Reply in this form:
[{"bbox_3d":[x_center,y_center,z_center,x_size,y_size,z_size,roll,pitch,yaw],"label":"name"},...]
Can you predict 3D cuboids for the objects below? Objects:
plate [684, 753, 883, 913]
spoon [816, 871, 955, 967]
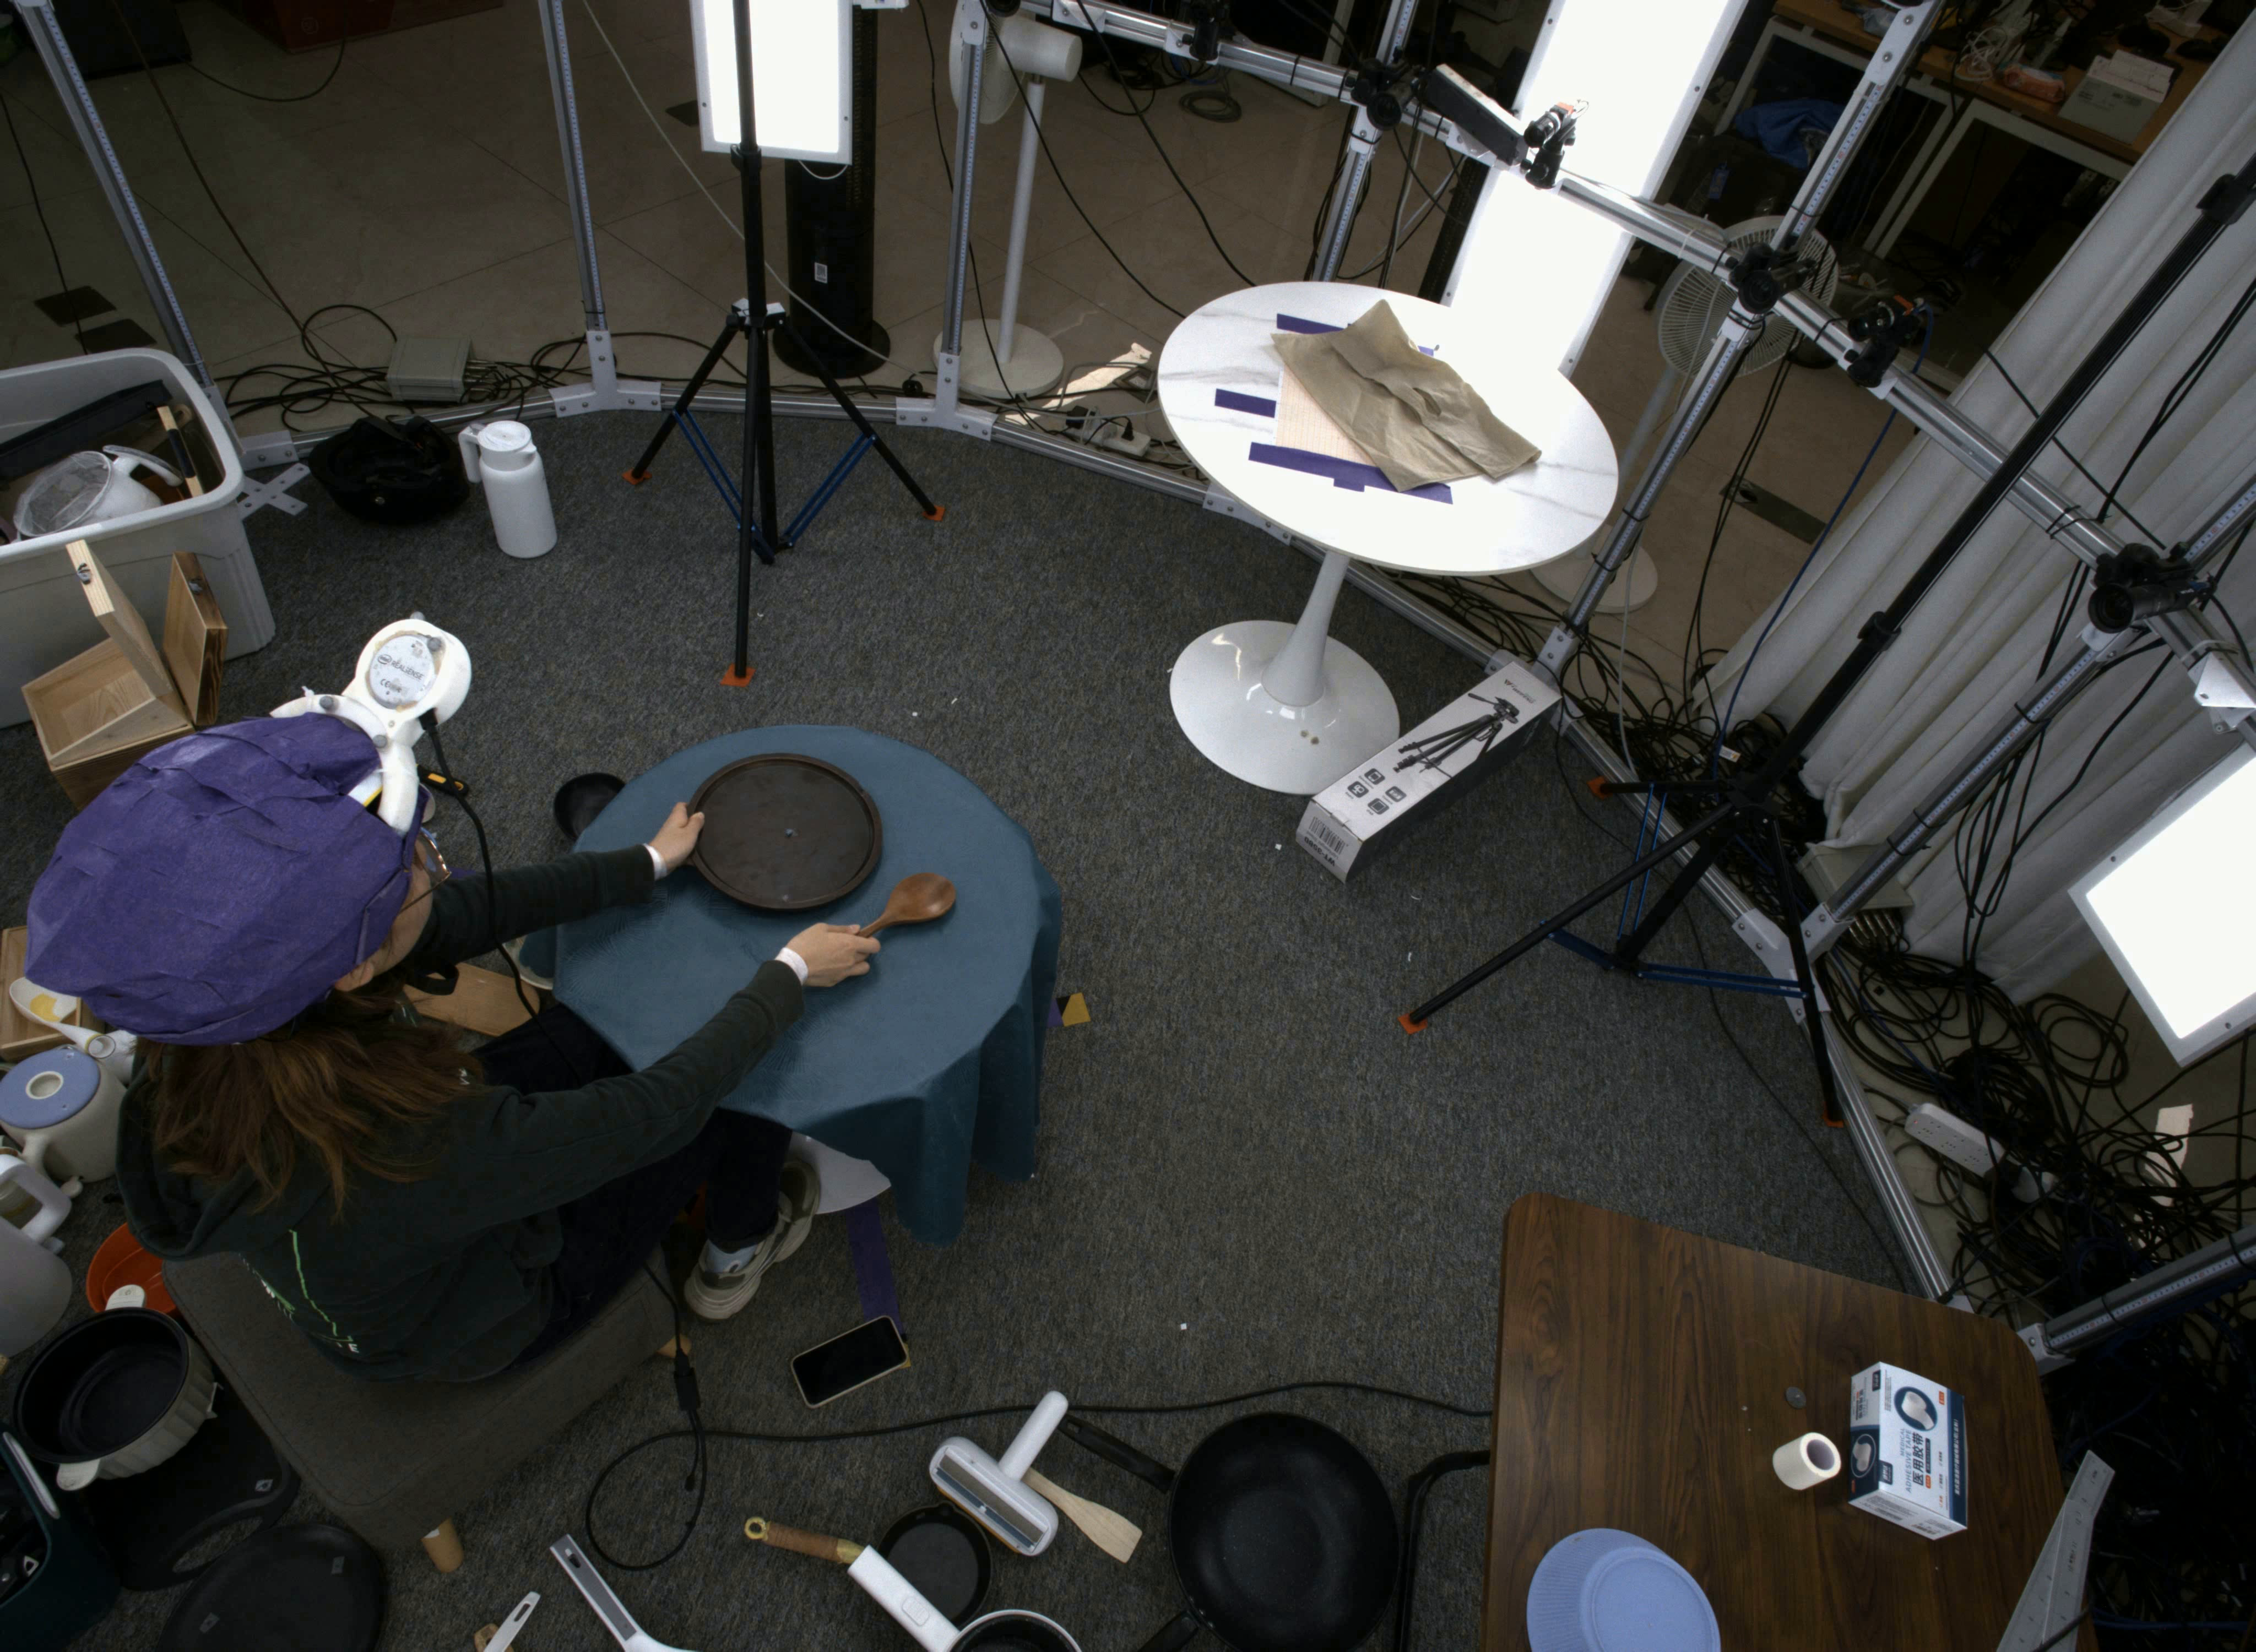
[{"bbox_3d":[-0.448,0.007,1.691,0.255,0.029,0.250,11,50,-12],"label":"plate"},{"bbox_3d":[-0.307,0.118,1.645,0.074,0.017,0.217,40,46,18],"label":"spoon"}]
